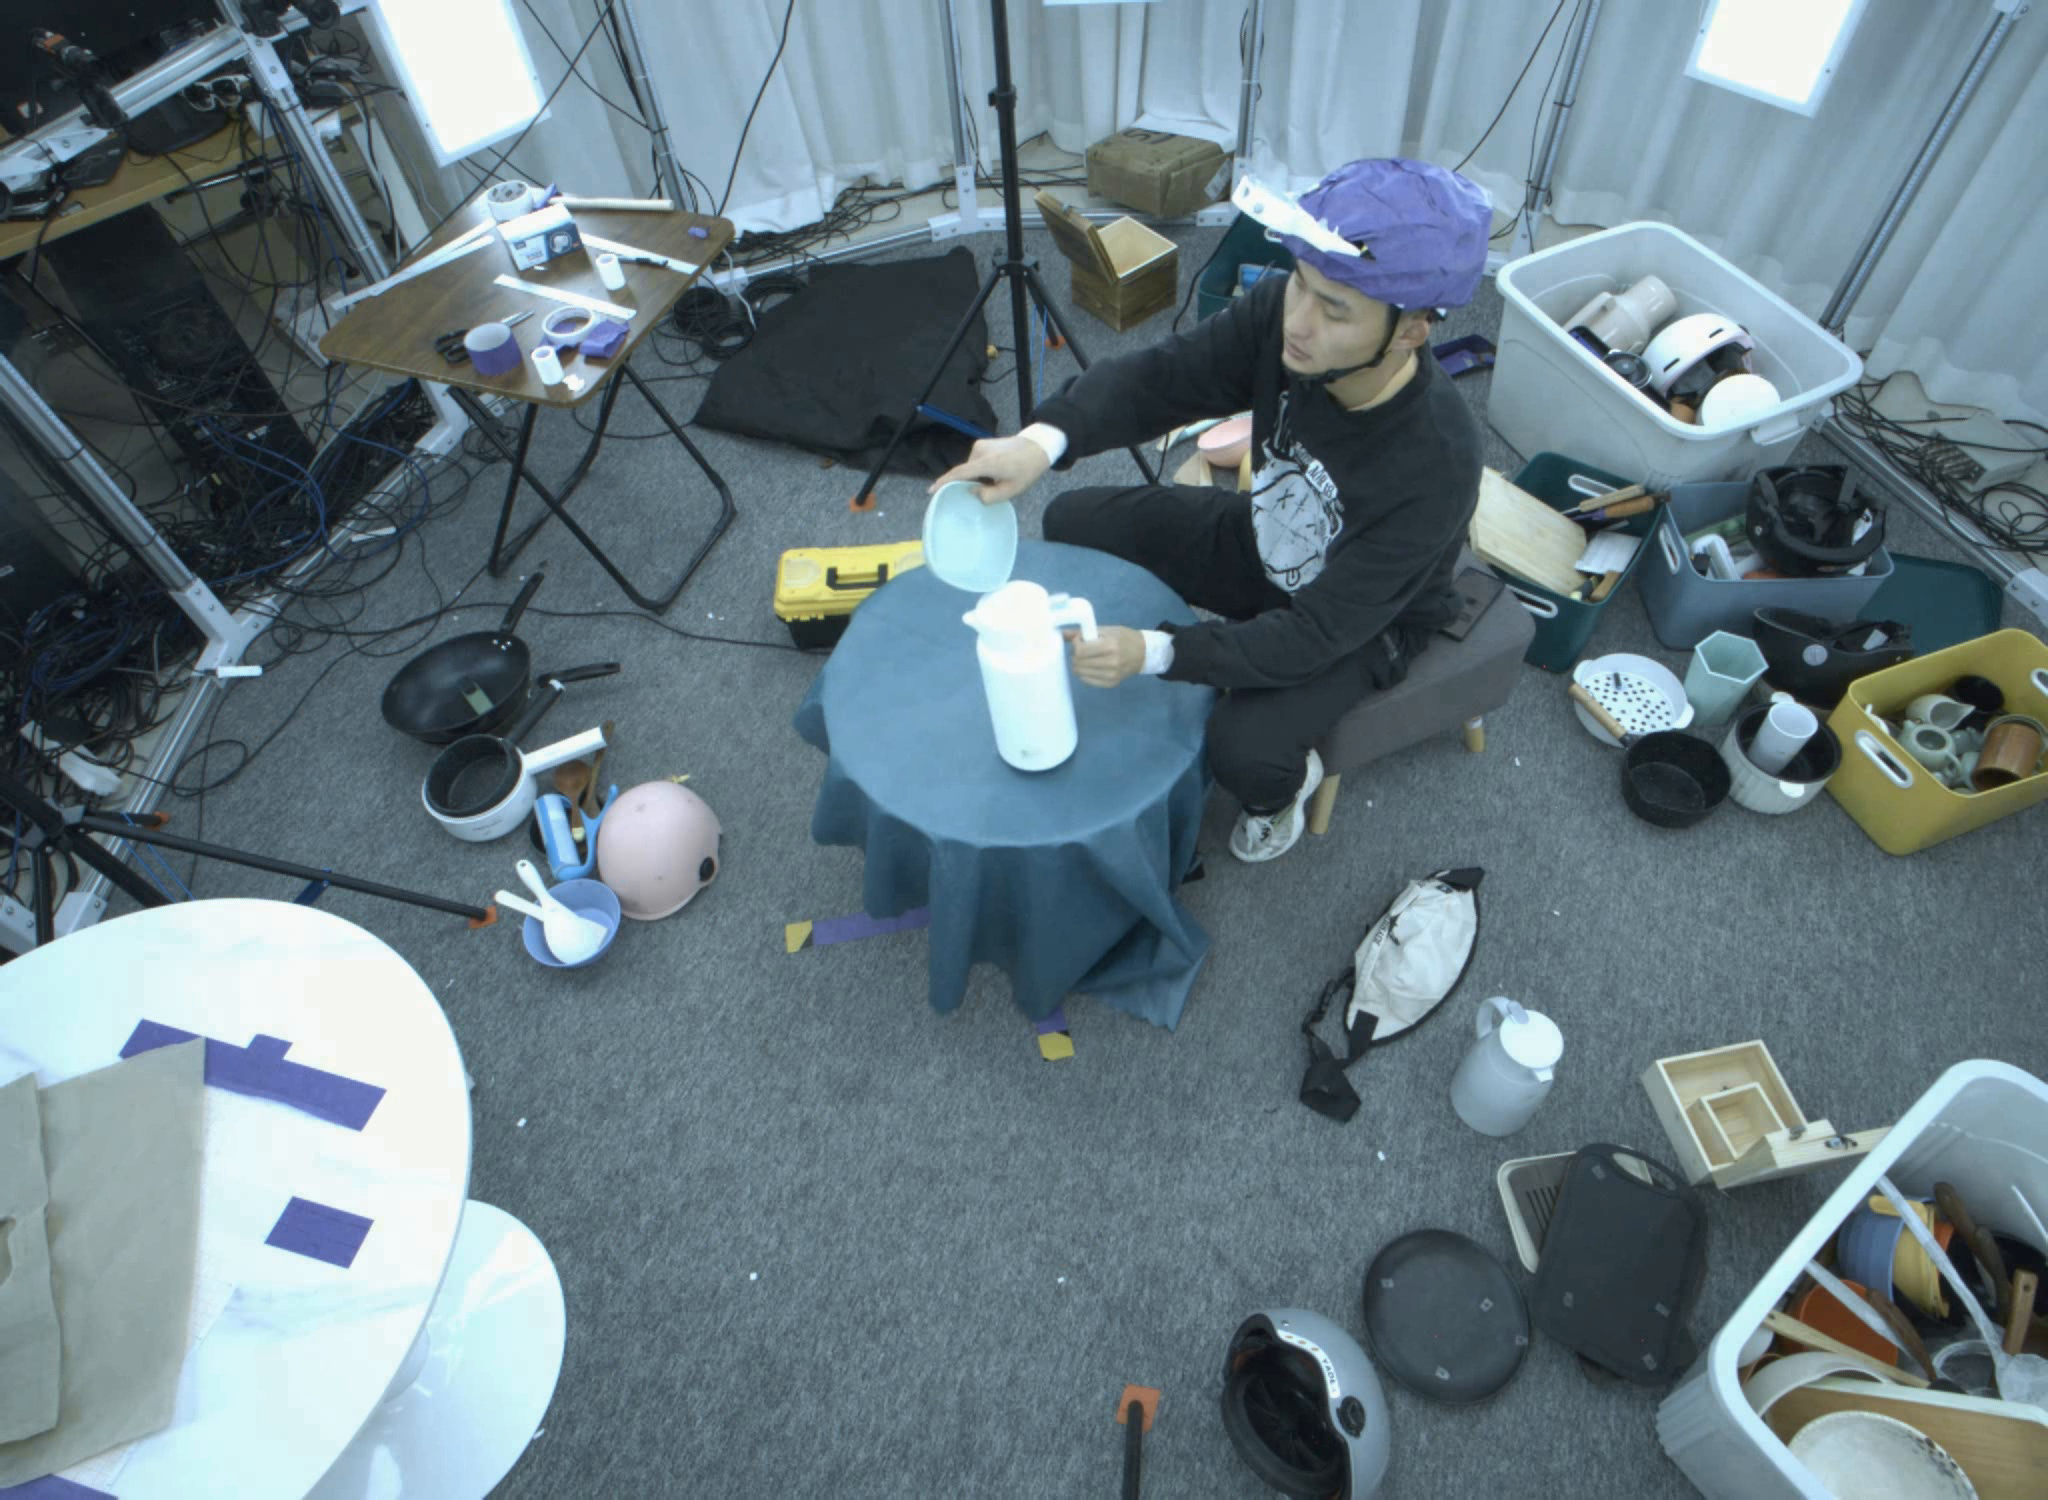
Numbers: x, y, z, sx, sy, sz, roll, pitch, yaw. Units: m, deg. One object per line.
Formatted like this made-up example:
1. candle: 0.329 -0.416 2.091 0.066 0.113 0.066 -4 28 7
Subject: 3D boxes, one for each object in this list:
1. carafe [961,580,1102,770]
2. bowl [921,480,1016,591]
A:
1. carafe: 0.019 -0.103 1.684 0.173 0.272 0.122 -11 45 0
2. bowl: -0.083 -0.275 1.577 0.057 0.154 0.152 6 47 50
